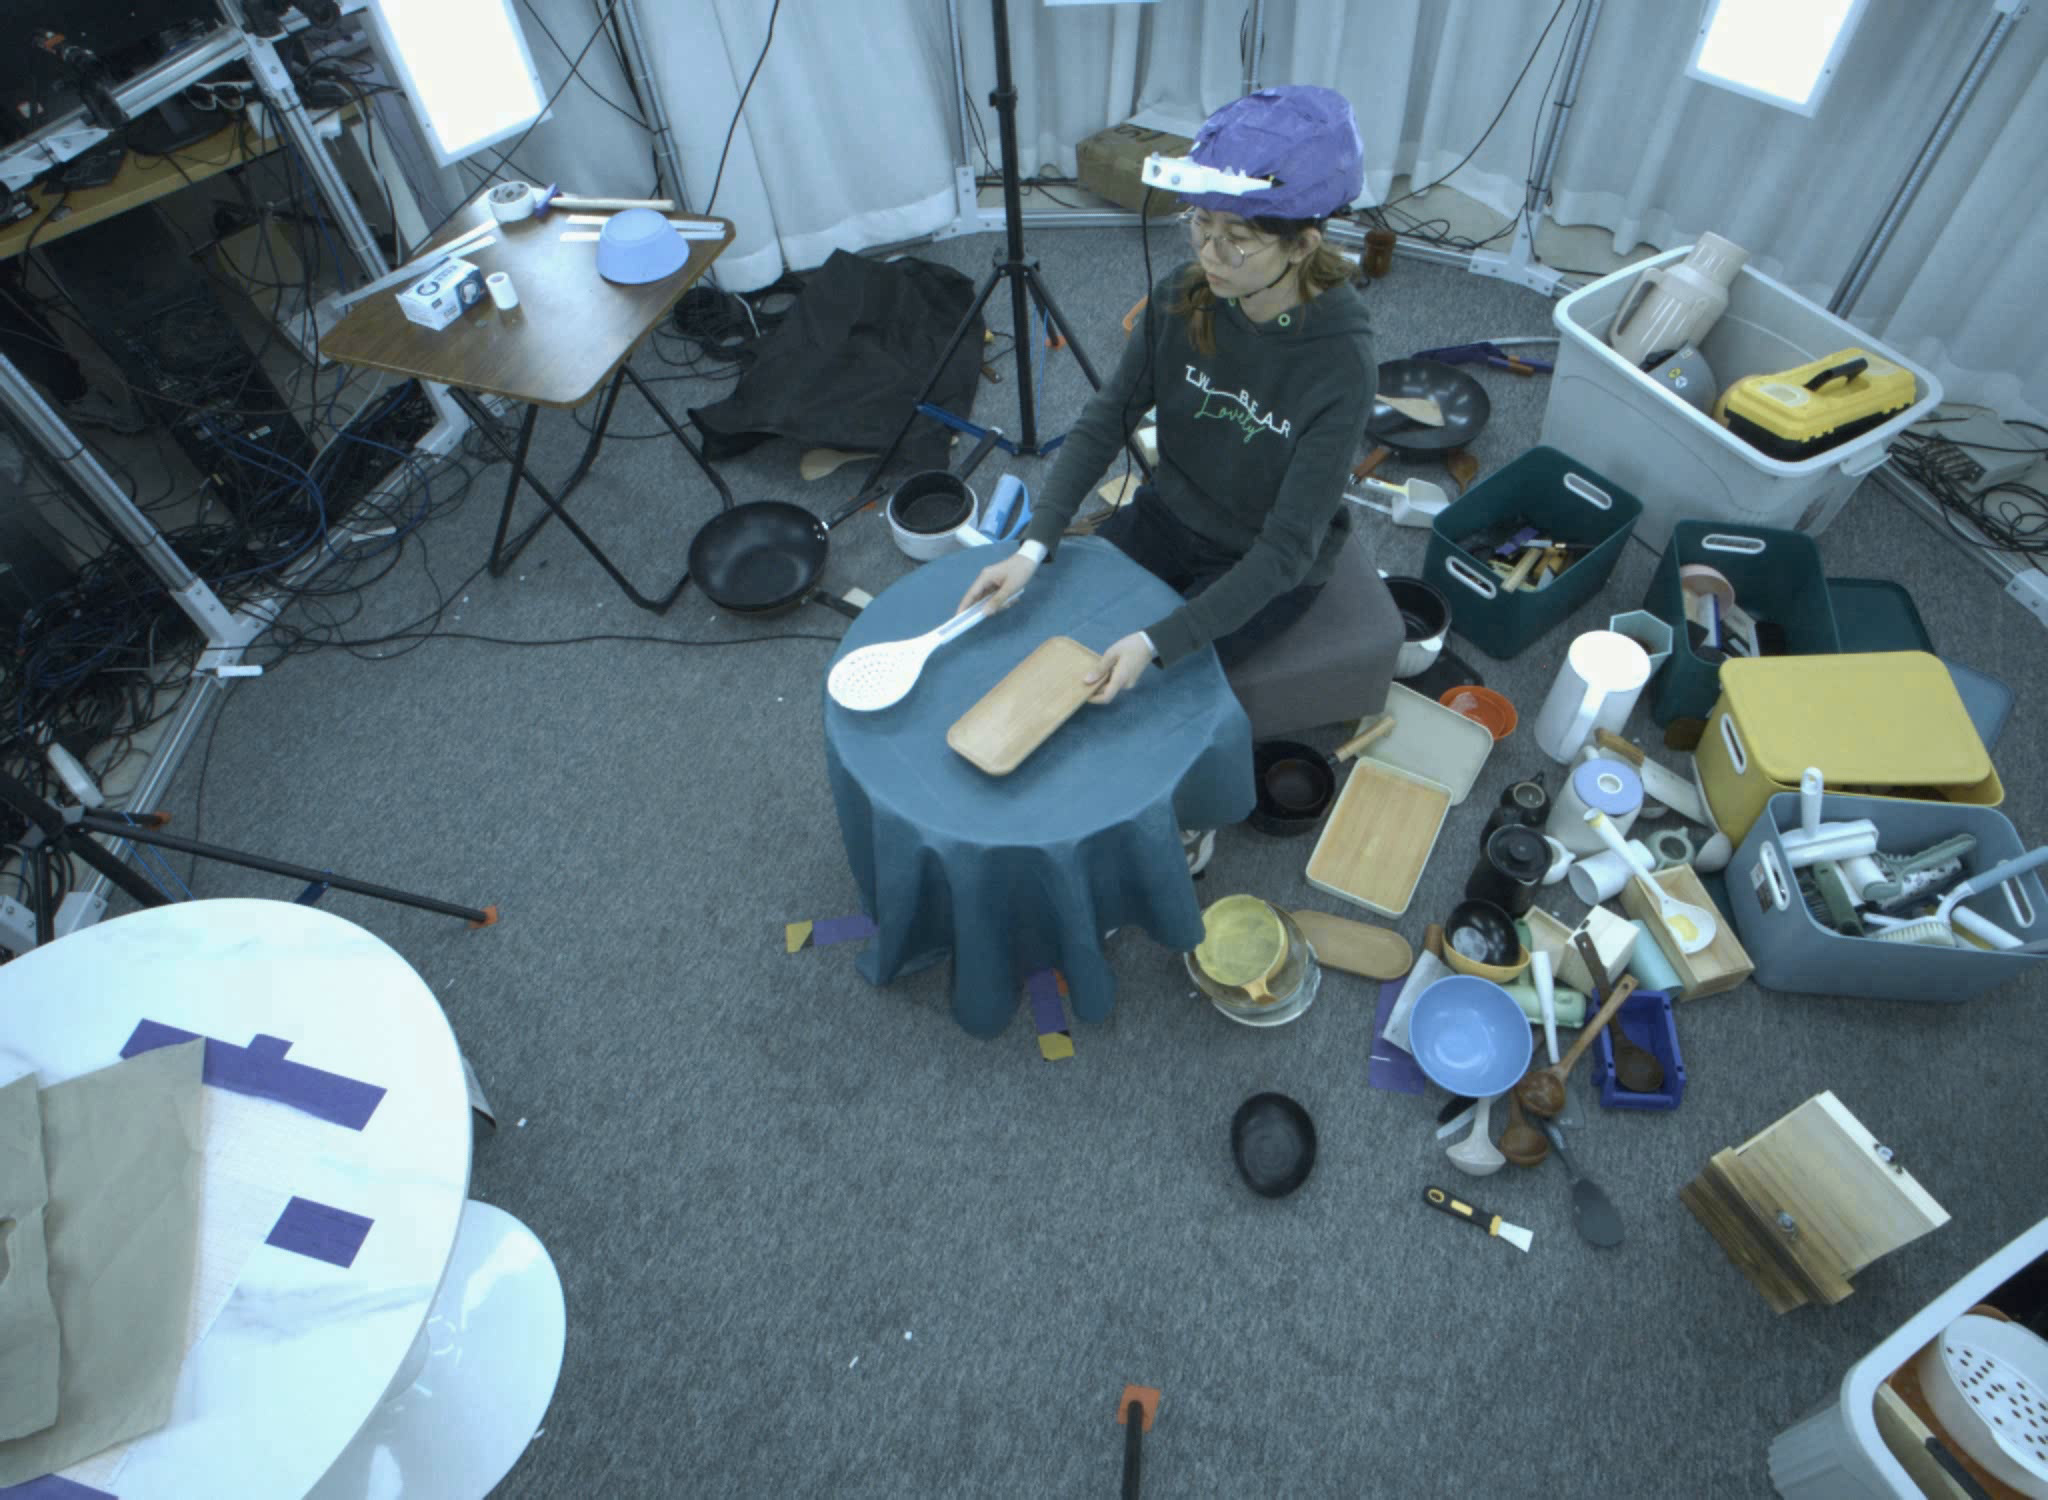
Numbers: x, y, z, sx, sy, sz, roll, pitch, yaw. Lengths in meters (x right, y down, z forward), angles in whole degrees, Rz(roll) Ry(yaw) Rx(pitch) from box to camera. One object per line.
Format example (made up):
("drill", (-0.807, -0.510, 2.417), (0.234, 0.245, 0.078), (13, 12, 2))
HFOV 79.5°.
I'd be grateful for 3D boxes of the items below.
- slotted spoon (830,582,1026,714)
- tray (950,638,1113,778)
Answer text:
("slotted spoon", (-0.139, -0.161, 1.871), (0.352, 0.046, 0.133), (-38, 56, -16))
("tray", (0.012, -0.063, 1.789), (0.128, 0.023, 0.252), (35, 67, 30))
